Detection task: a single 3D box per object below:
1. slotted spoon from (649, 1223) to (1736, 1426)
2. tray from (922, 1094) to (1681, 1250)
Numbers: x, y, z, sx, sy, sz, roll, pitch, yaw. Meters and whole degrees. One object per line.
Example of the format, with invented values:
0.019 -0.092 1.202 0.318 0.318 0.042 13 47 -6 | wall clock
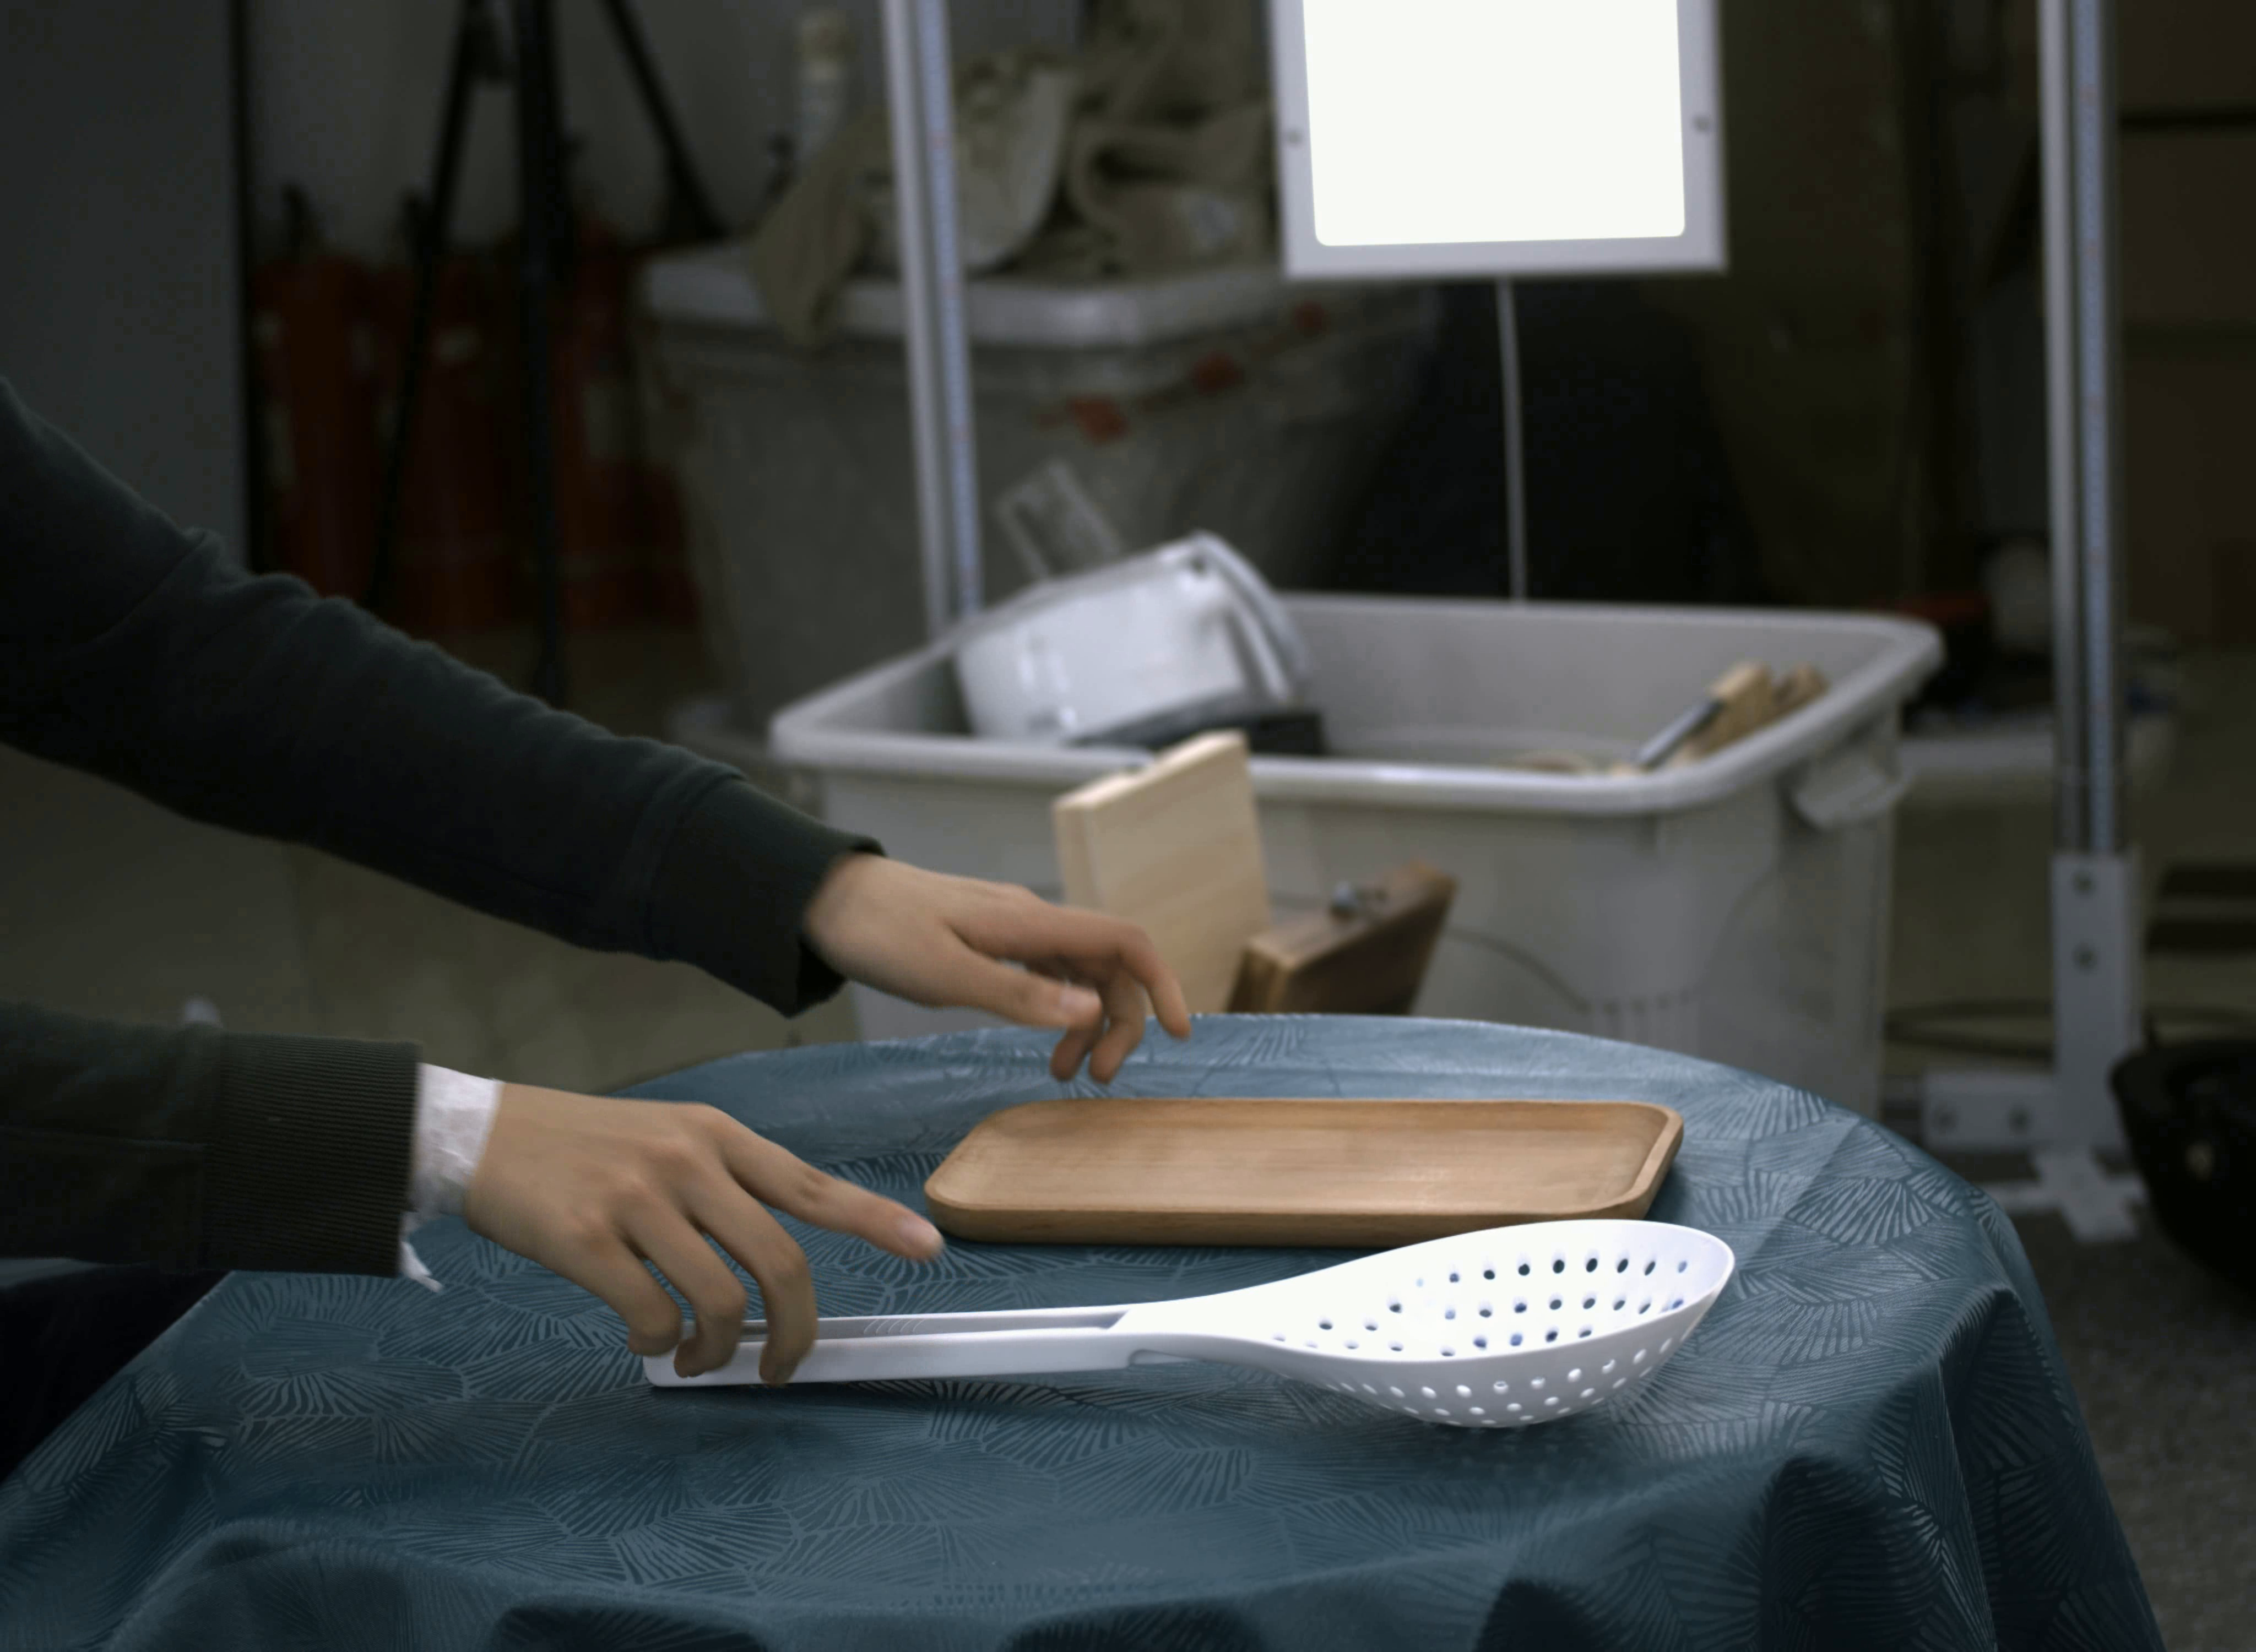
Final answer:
0.015 0.154 1.684 0.354 0.046 0.133 0 12 21 | slotted spoon
0.060 0.118 1.878 0.253 0.023 0.128 -1 12 18 | tray
